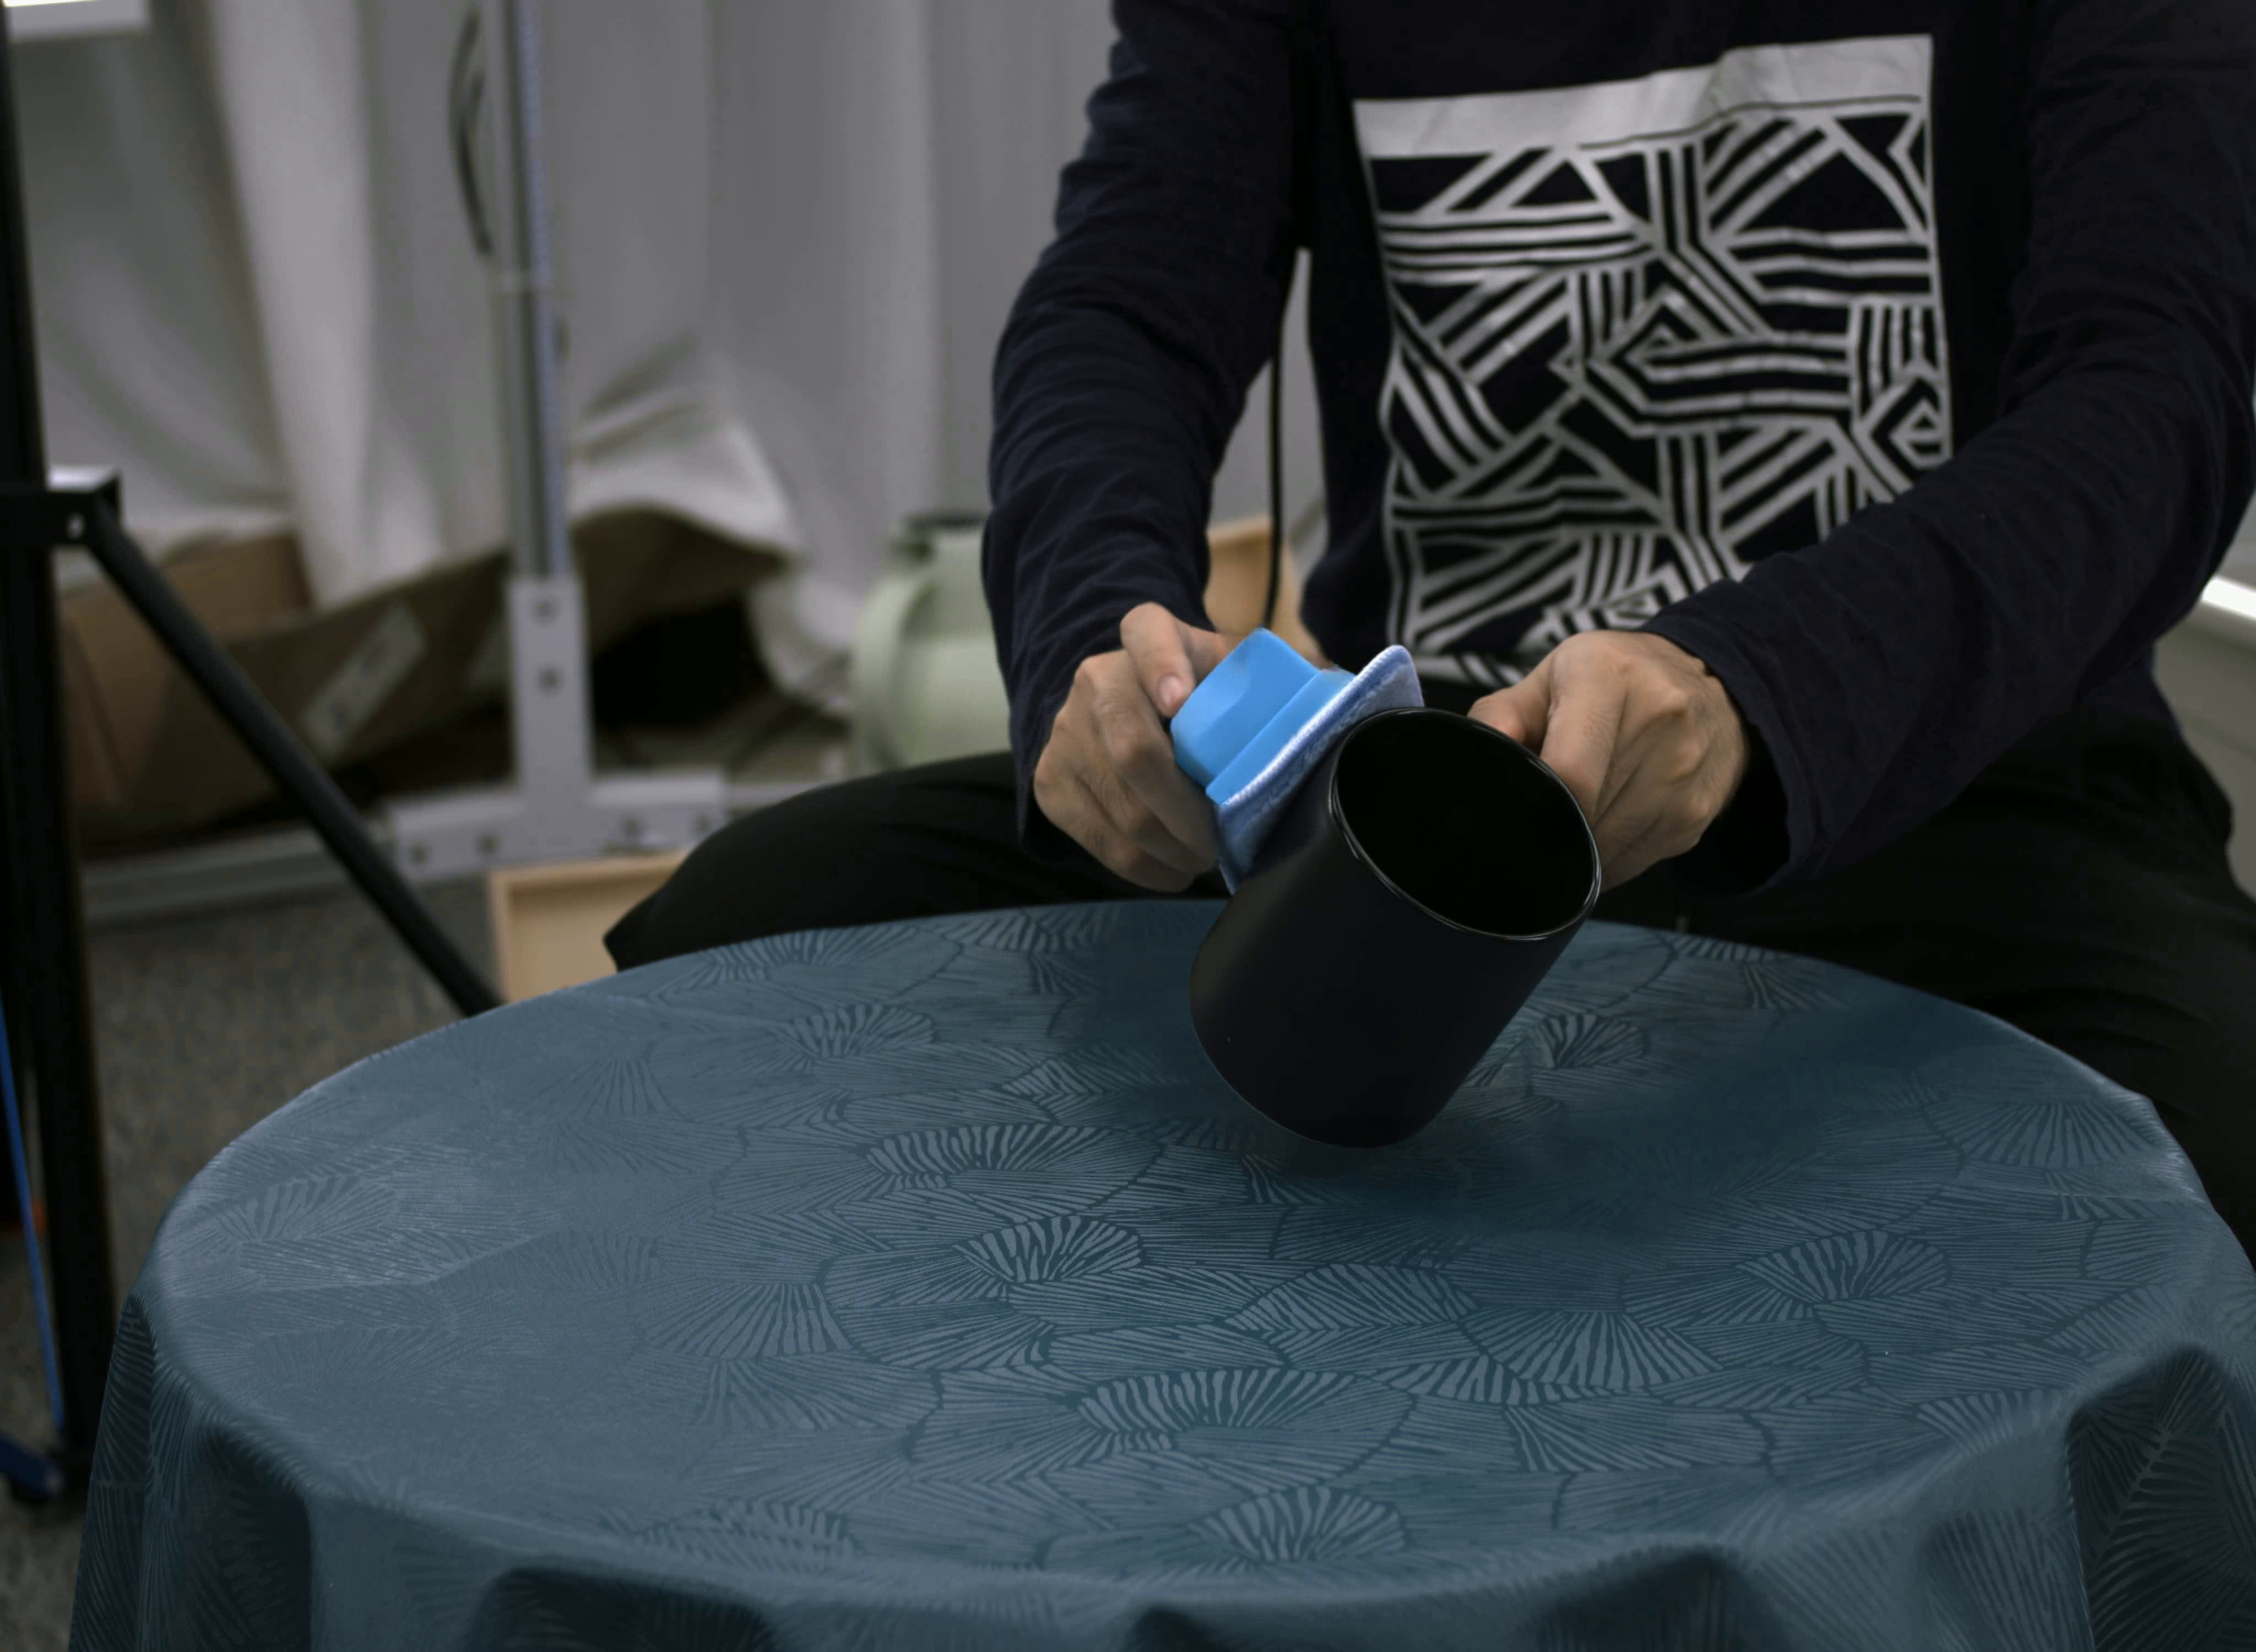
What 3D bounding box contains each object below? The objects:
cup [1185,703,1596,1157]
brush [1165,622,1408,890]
[{"bbox_3d":[0.084,0.024,1.565,0.089,0.106,0.122,36,40,8],"label":"cup"},{"bbox_3d":[0.040,-0.026,1.601,0.084,0.056,0.143,-45,-8,0],"label":"brush"}]
